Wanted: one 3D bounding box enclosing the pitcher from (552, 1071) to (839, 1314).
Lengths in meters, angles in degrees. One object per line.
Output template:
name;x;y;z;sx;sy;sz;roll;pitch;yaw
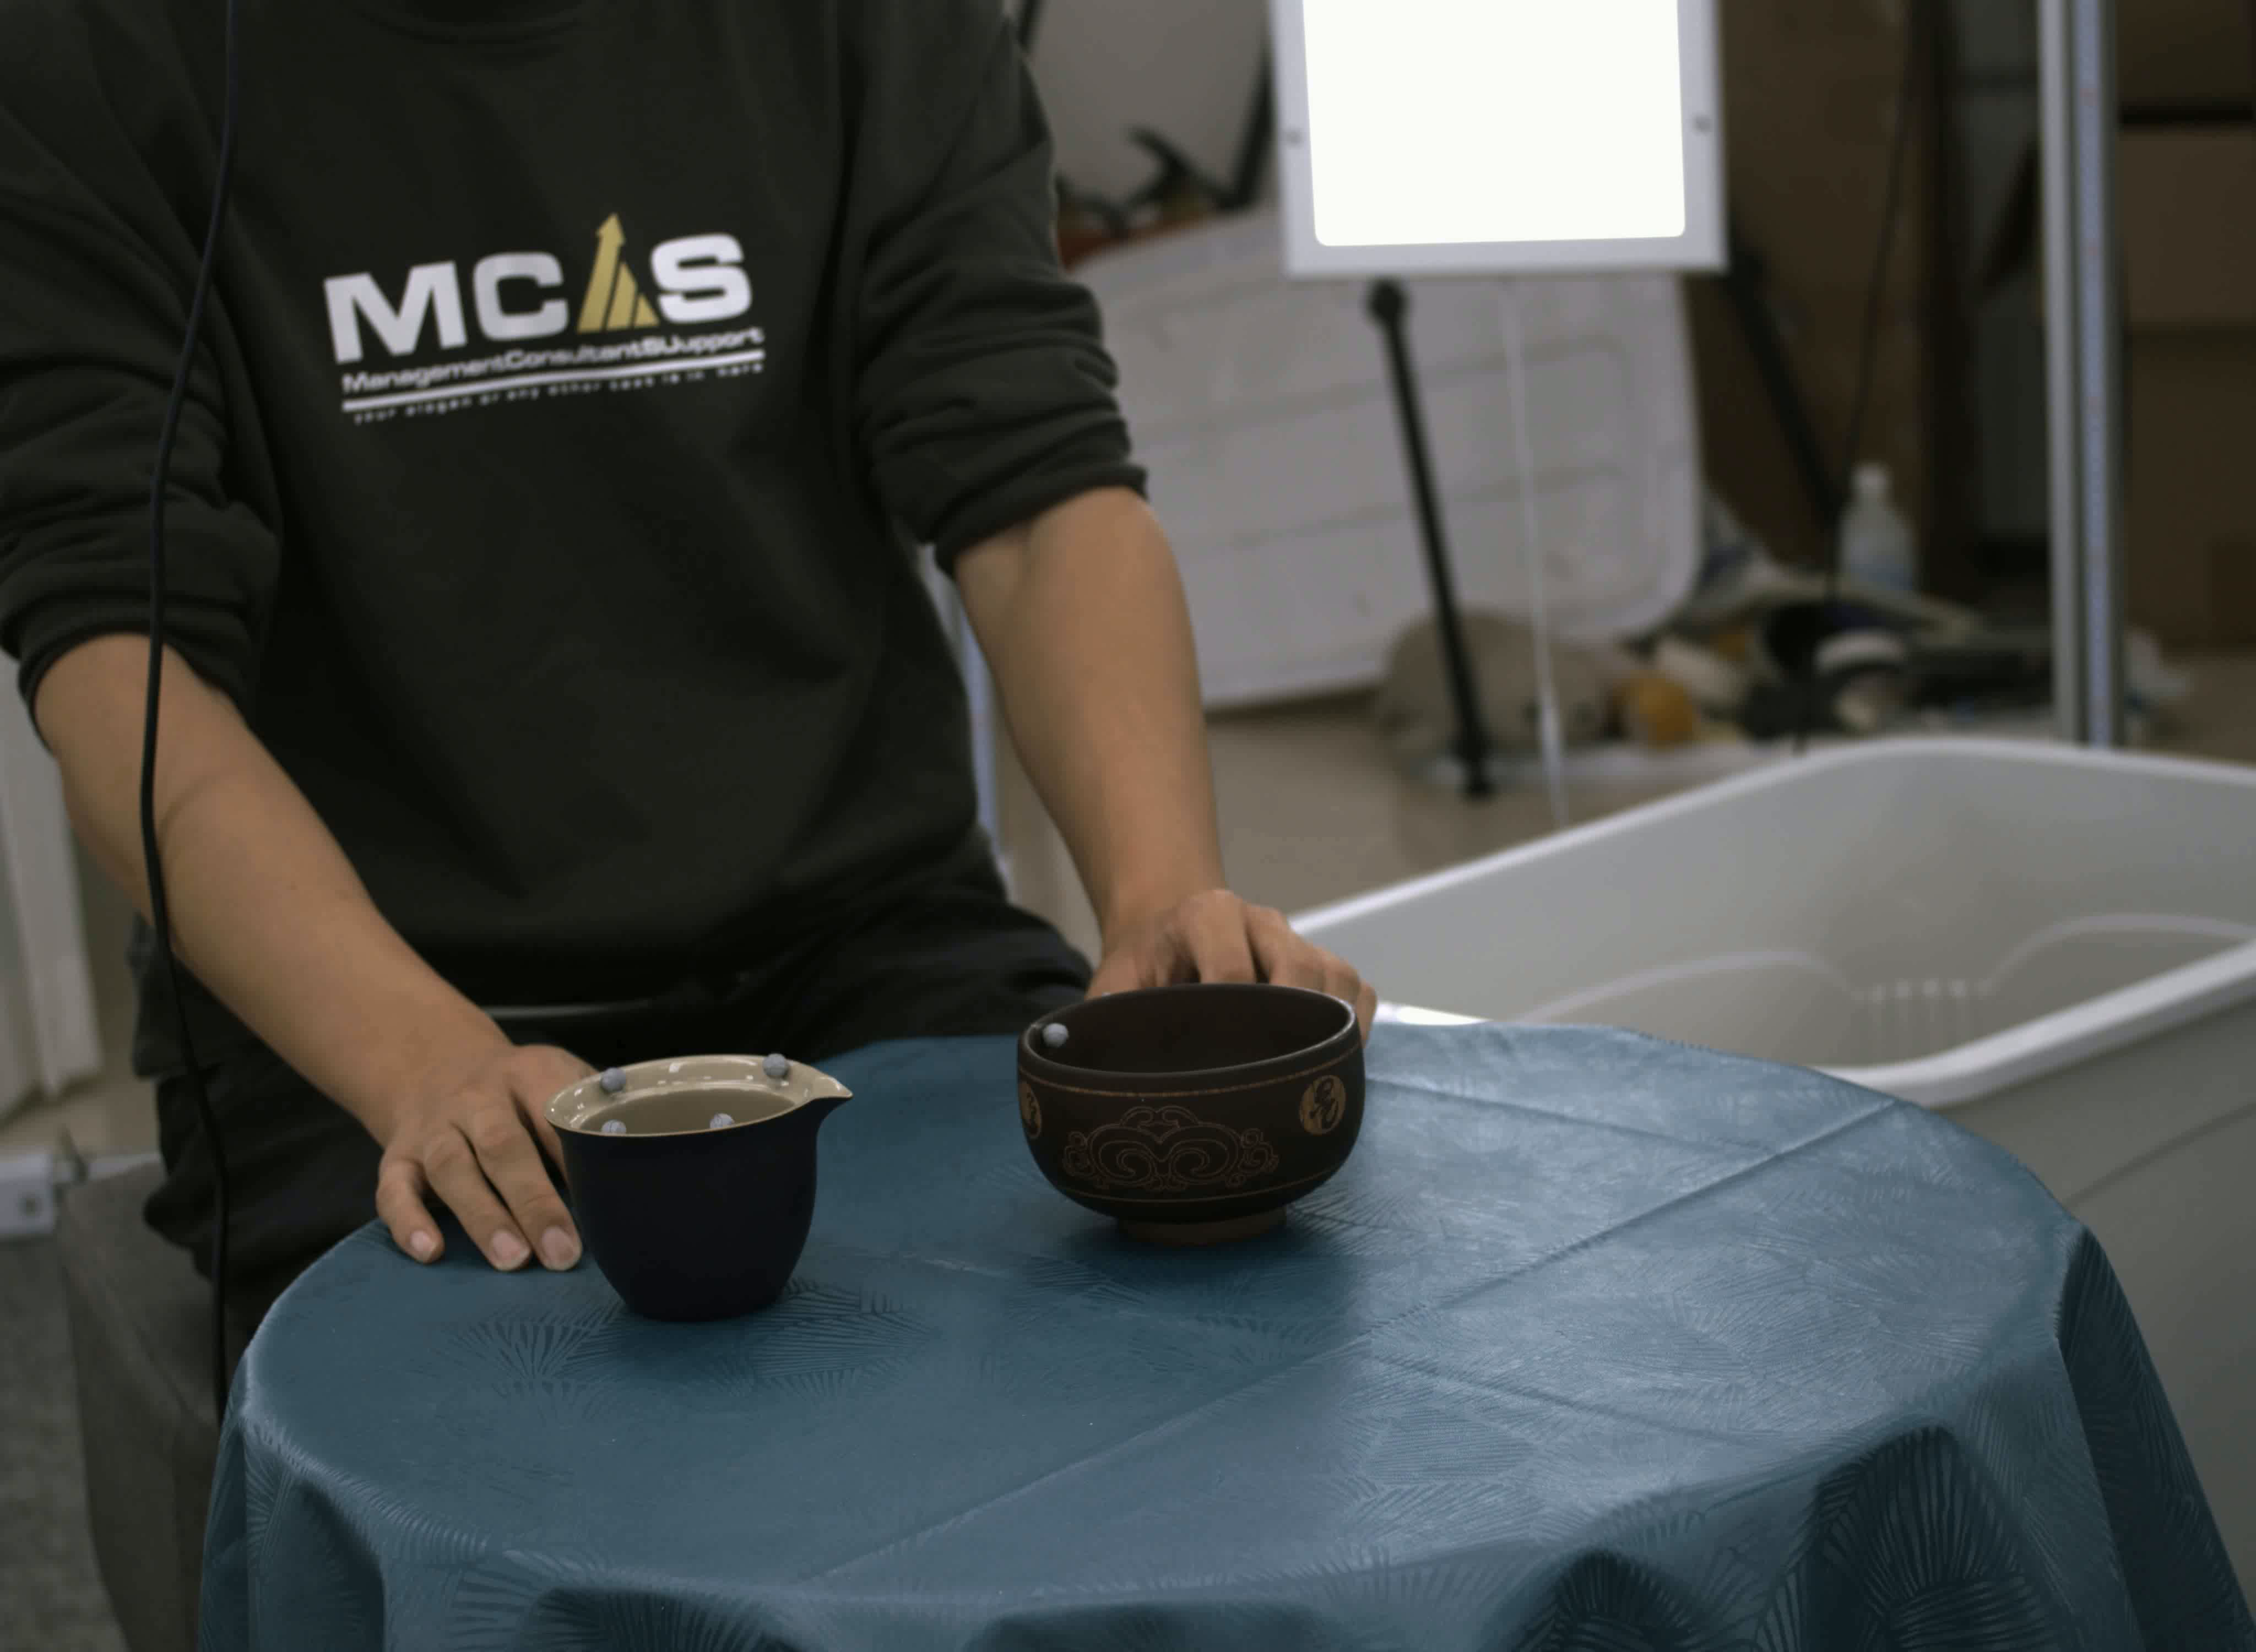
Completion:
pitcher;-0.139;0.120;1.819;0.096;0.071;0.083;-3;12;12

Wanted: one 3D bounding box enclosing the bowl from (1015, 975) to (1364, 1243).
bowl;0.022;0.099;1.854;0.118;0.070;0.118;-5;15;0
